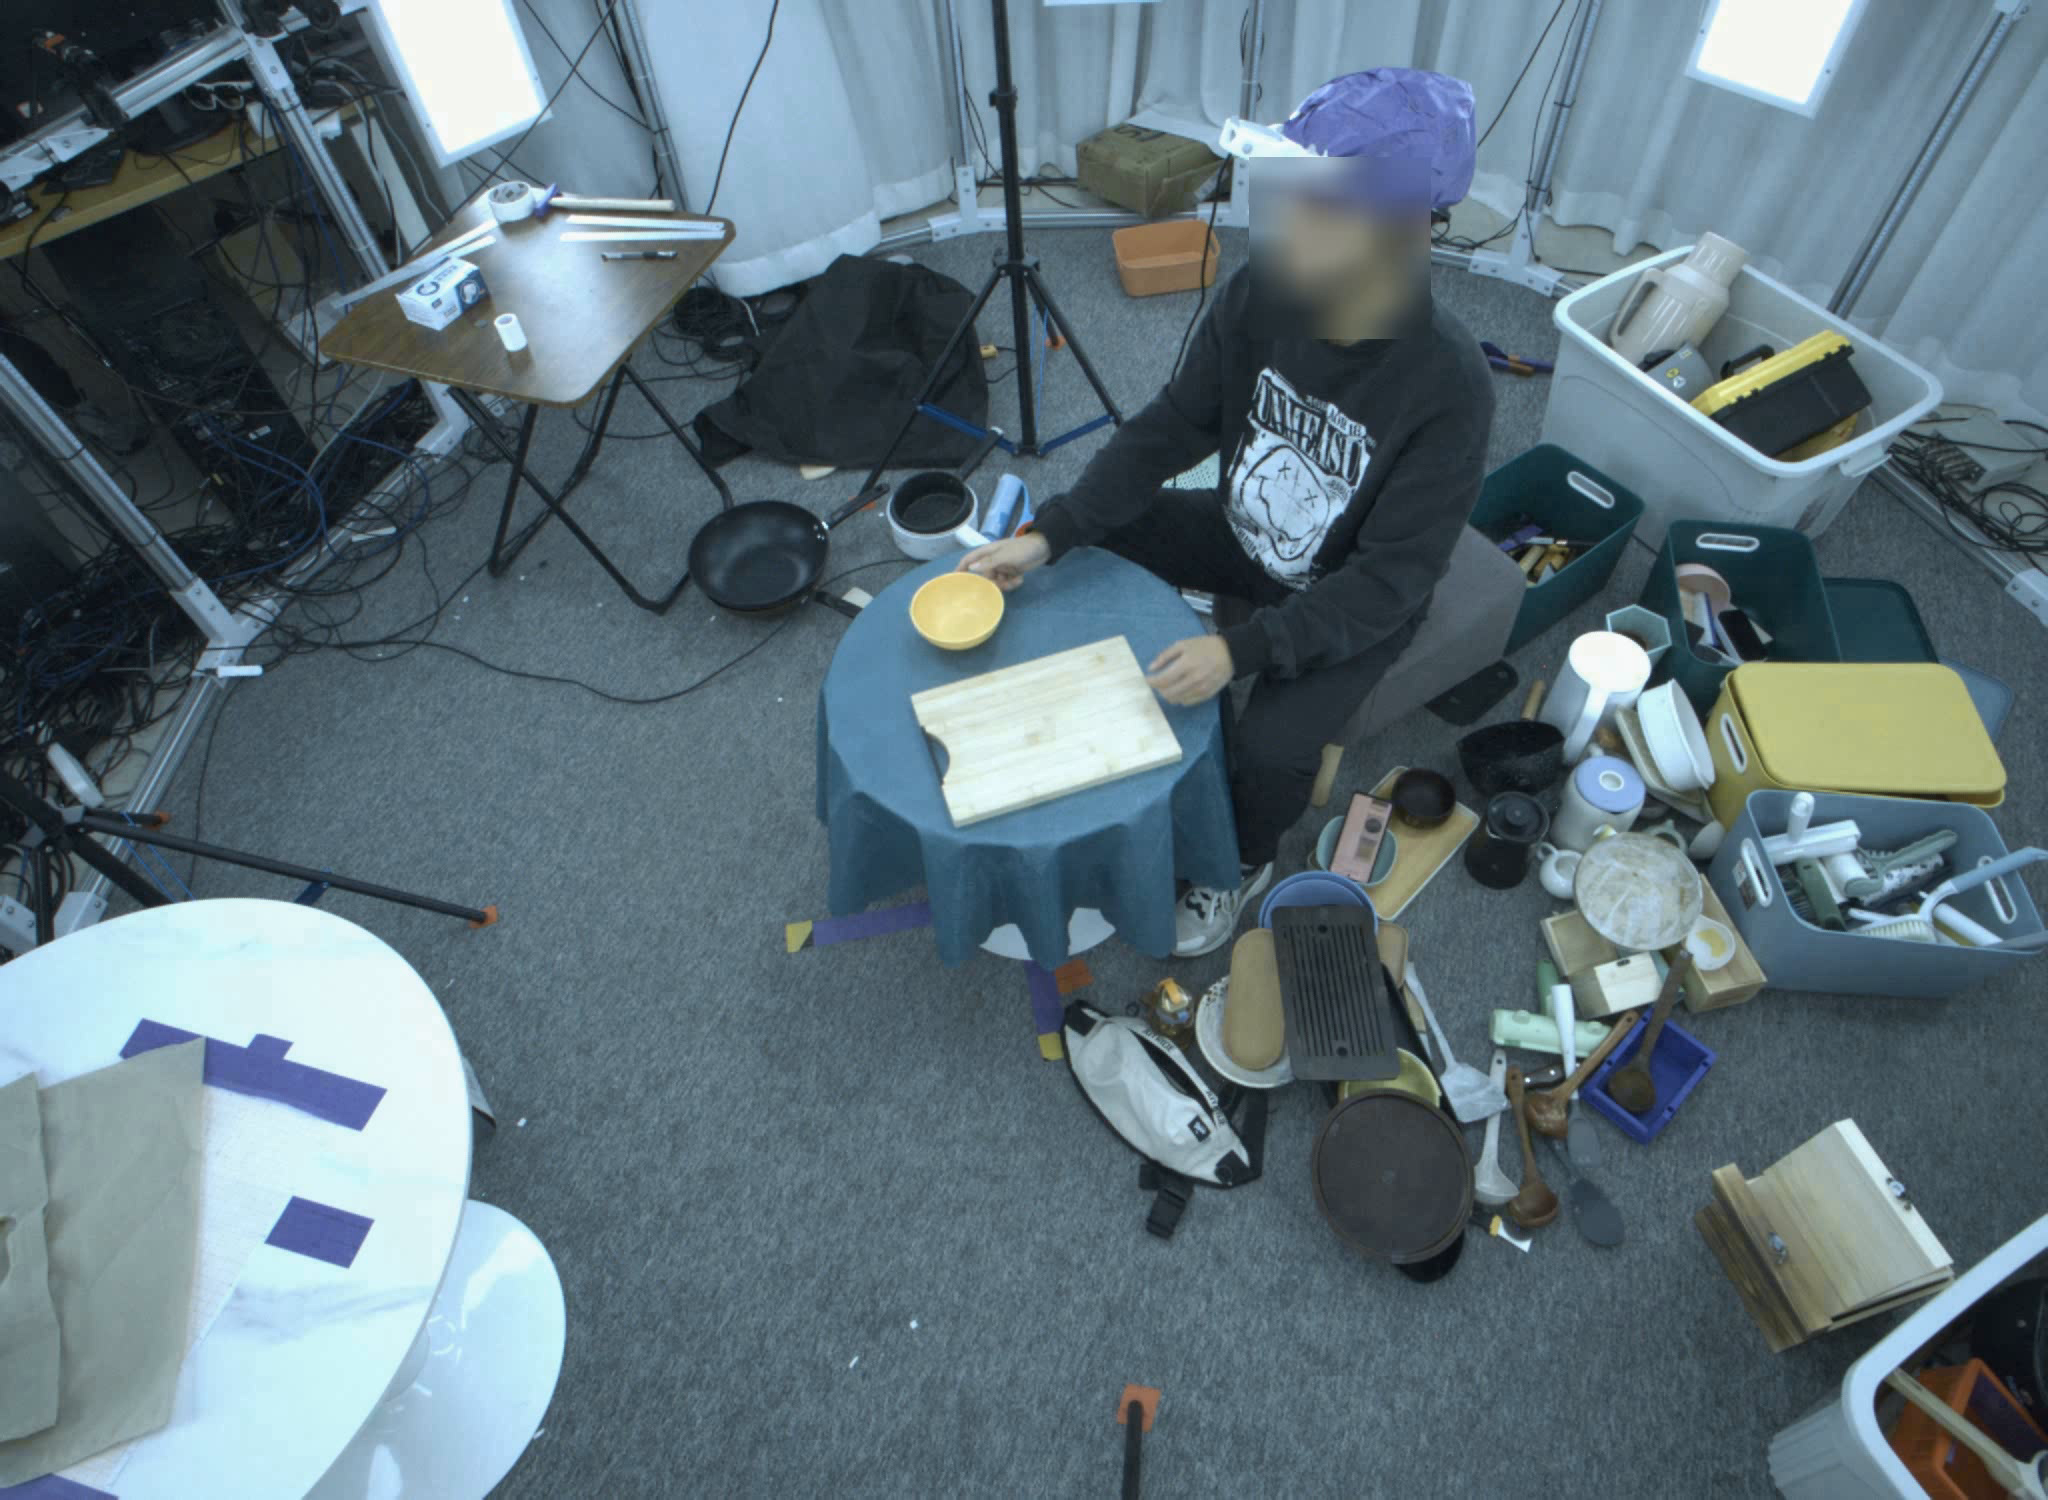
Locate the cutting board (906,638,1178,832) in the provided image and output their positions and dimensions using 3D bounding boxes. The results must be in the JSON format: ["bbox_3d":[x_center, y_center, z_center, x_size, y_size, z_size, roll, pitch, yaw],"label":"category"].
[{"bbox_3d":[0.025,-0.028,1.807,0.351,0.024,0.246,-17,56,-10],"label":"cutting board"}]

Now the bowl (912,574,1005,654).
[{"bbox_3d":[-0.100,-0.200,1.907,0.145,0.060,0.144,1,58,0],"label":"bowl"}]
